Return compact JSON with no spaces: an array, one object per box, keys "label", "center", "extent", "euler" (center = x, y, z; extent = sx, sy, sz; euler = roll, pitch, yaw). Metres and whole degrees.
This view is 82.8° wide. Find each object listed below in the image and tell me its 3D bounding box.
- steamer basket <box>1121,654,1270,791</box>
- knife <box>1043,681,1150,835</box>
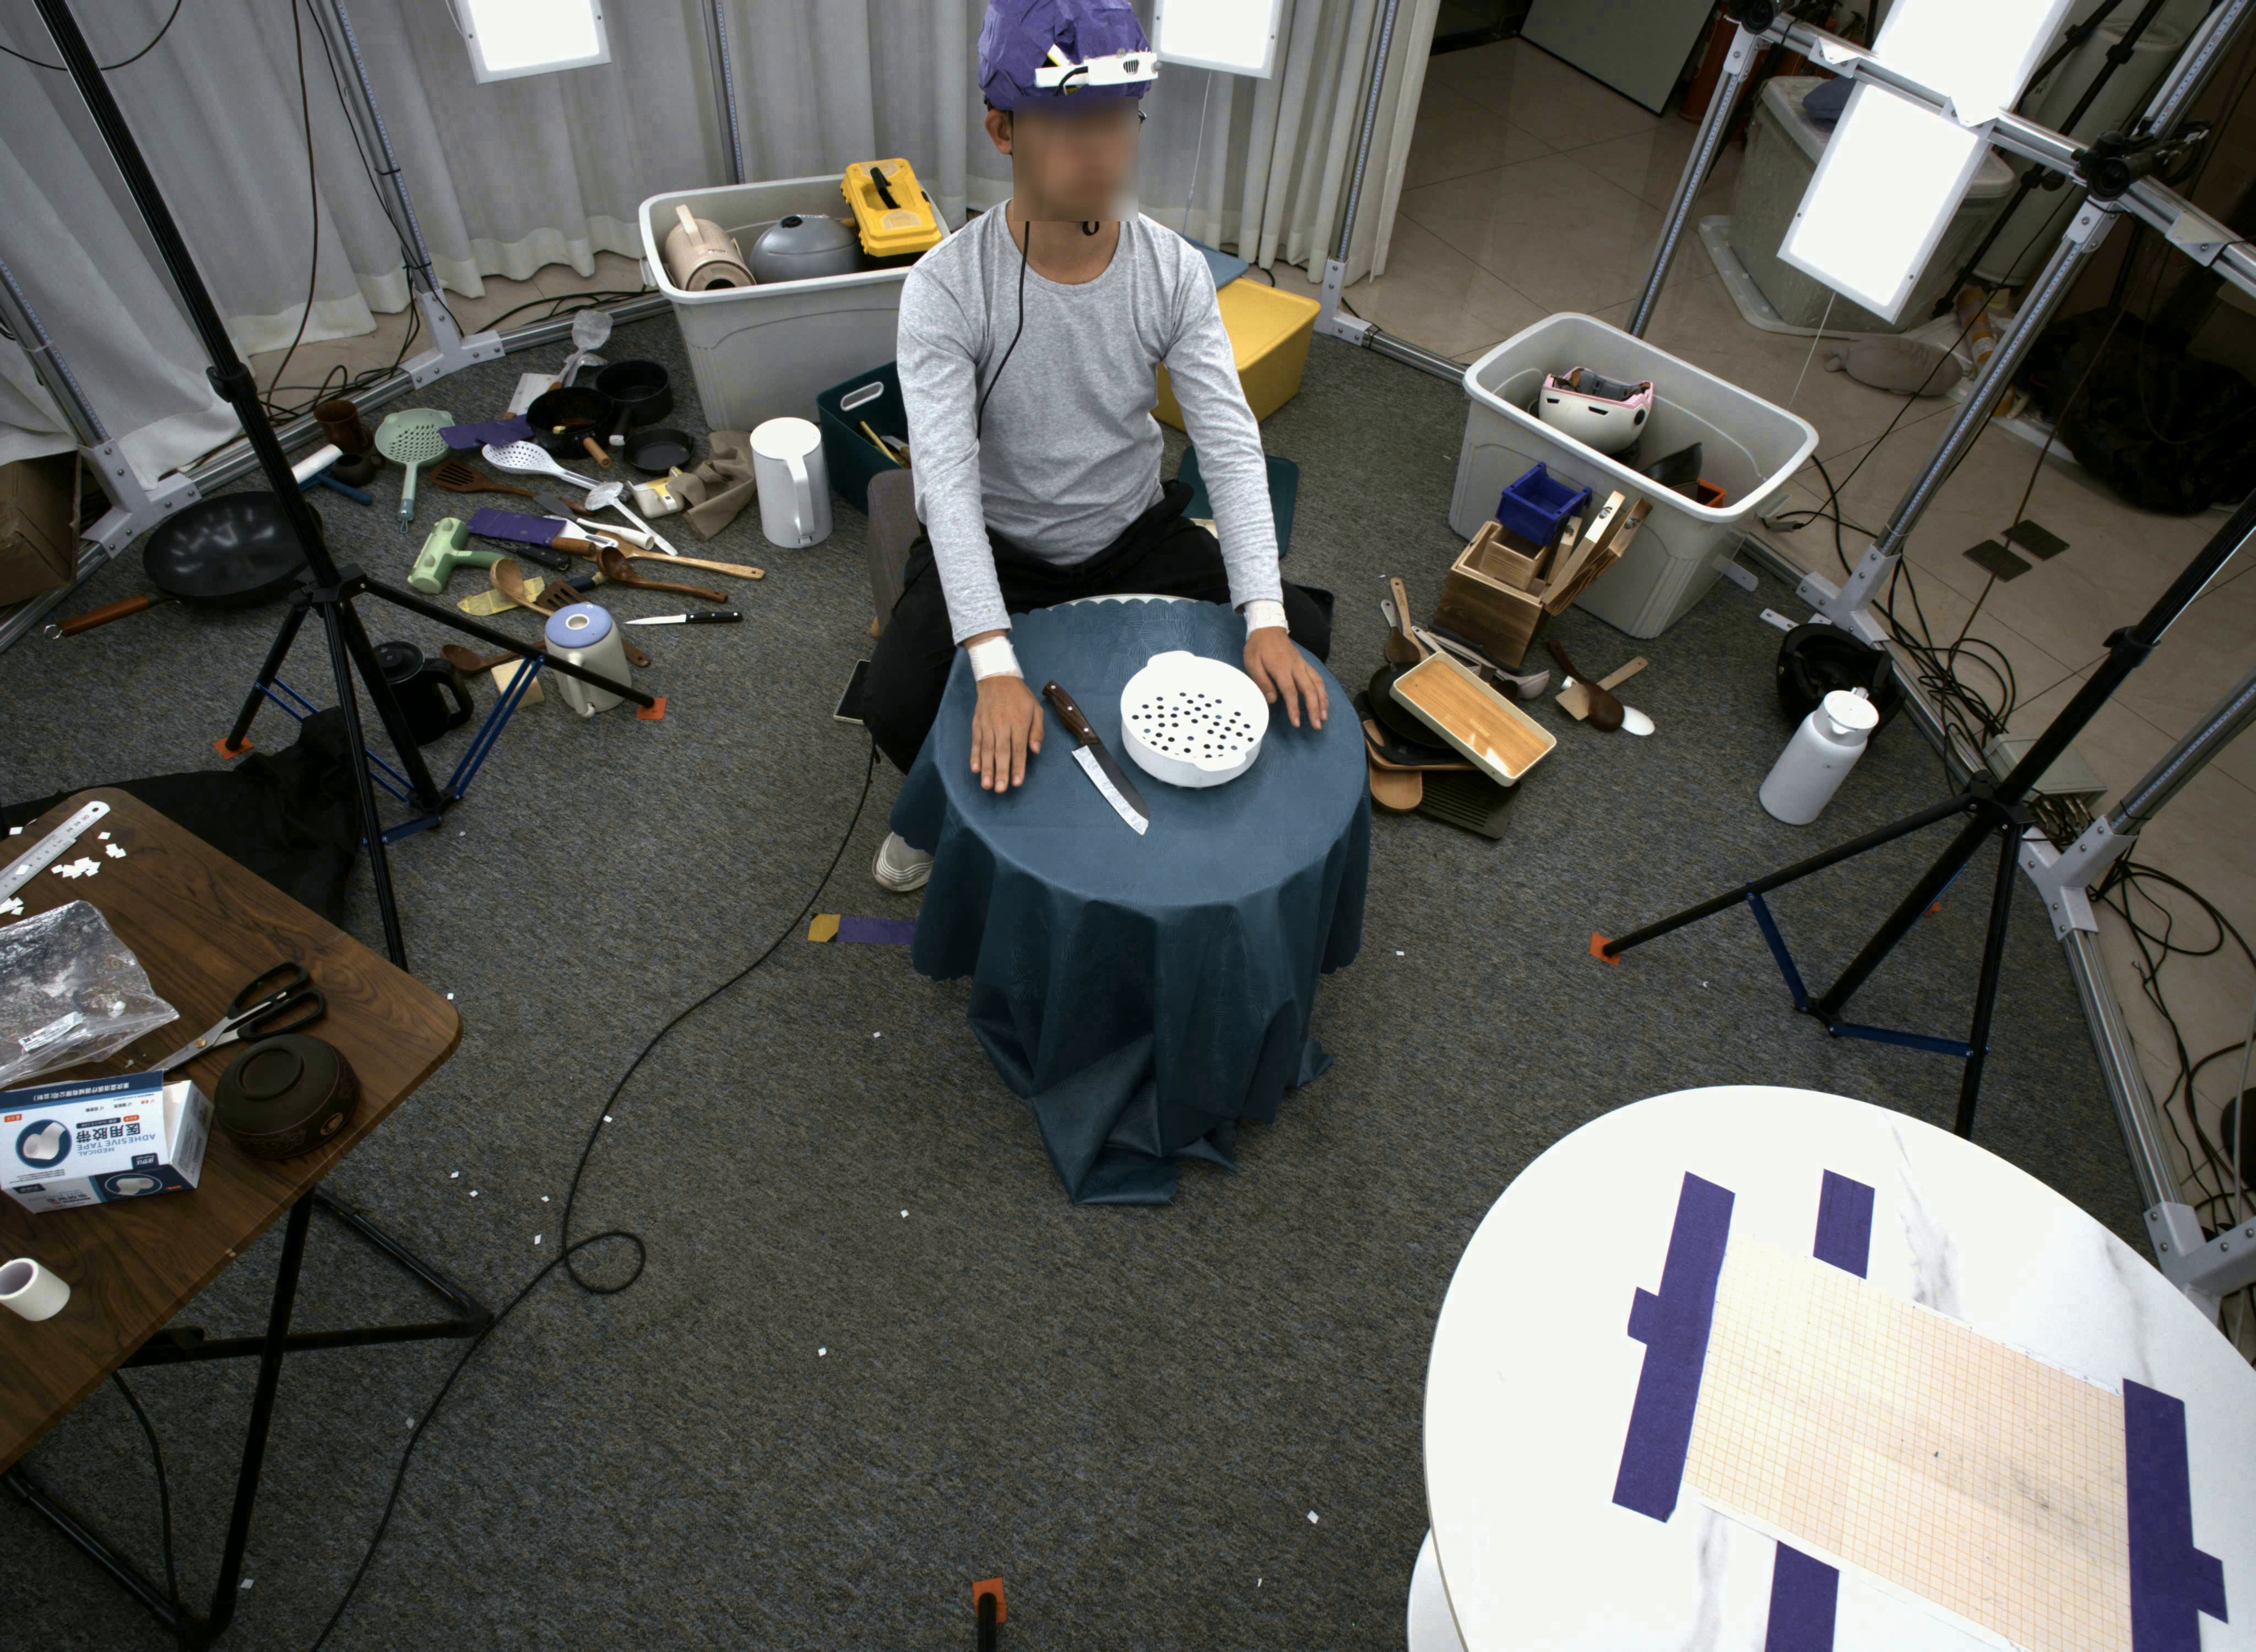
[{"label":"steamer basket","center":[0.090,-0.137,1.749],"extent":[0.202,0.067,0.236],"euler":[-11,50,-14]},{"label":"knife","center":[-0.044,-0.094,1.736],"extent":[0.050,0.019,0.295],"euler":[-22,56,-16]}]
